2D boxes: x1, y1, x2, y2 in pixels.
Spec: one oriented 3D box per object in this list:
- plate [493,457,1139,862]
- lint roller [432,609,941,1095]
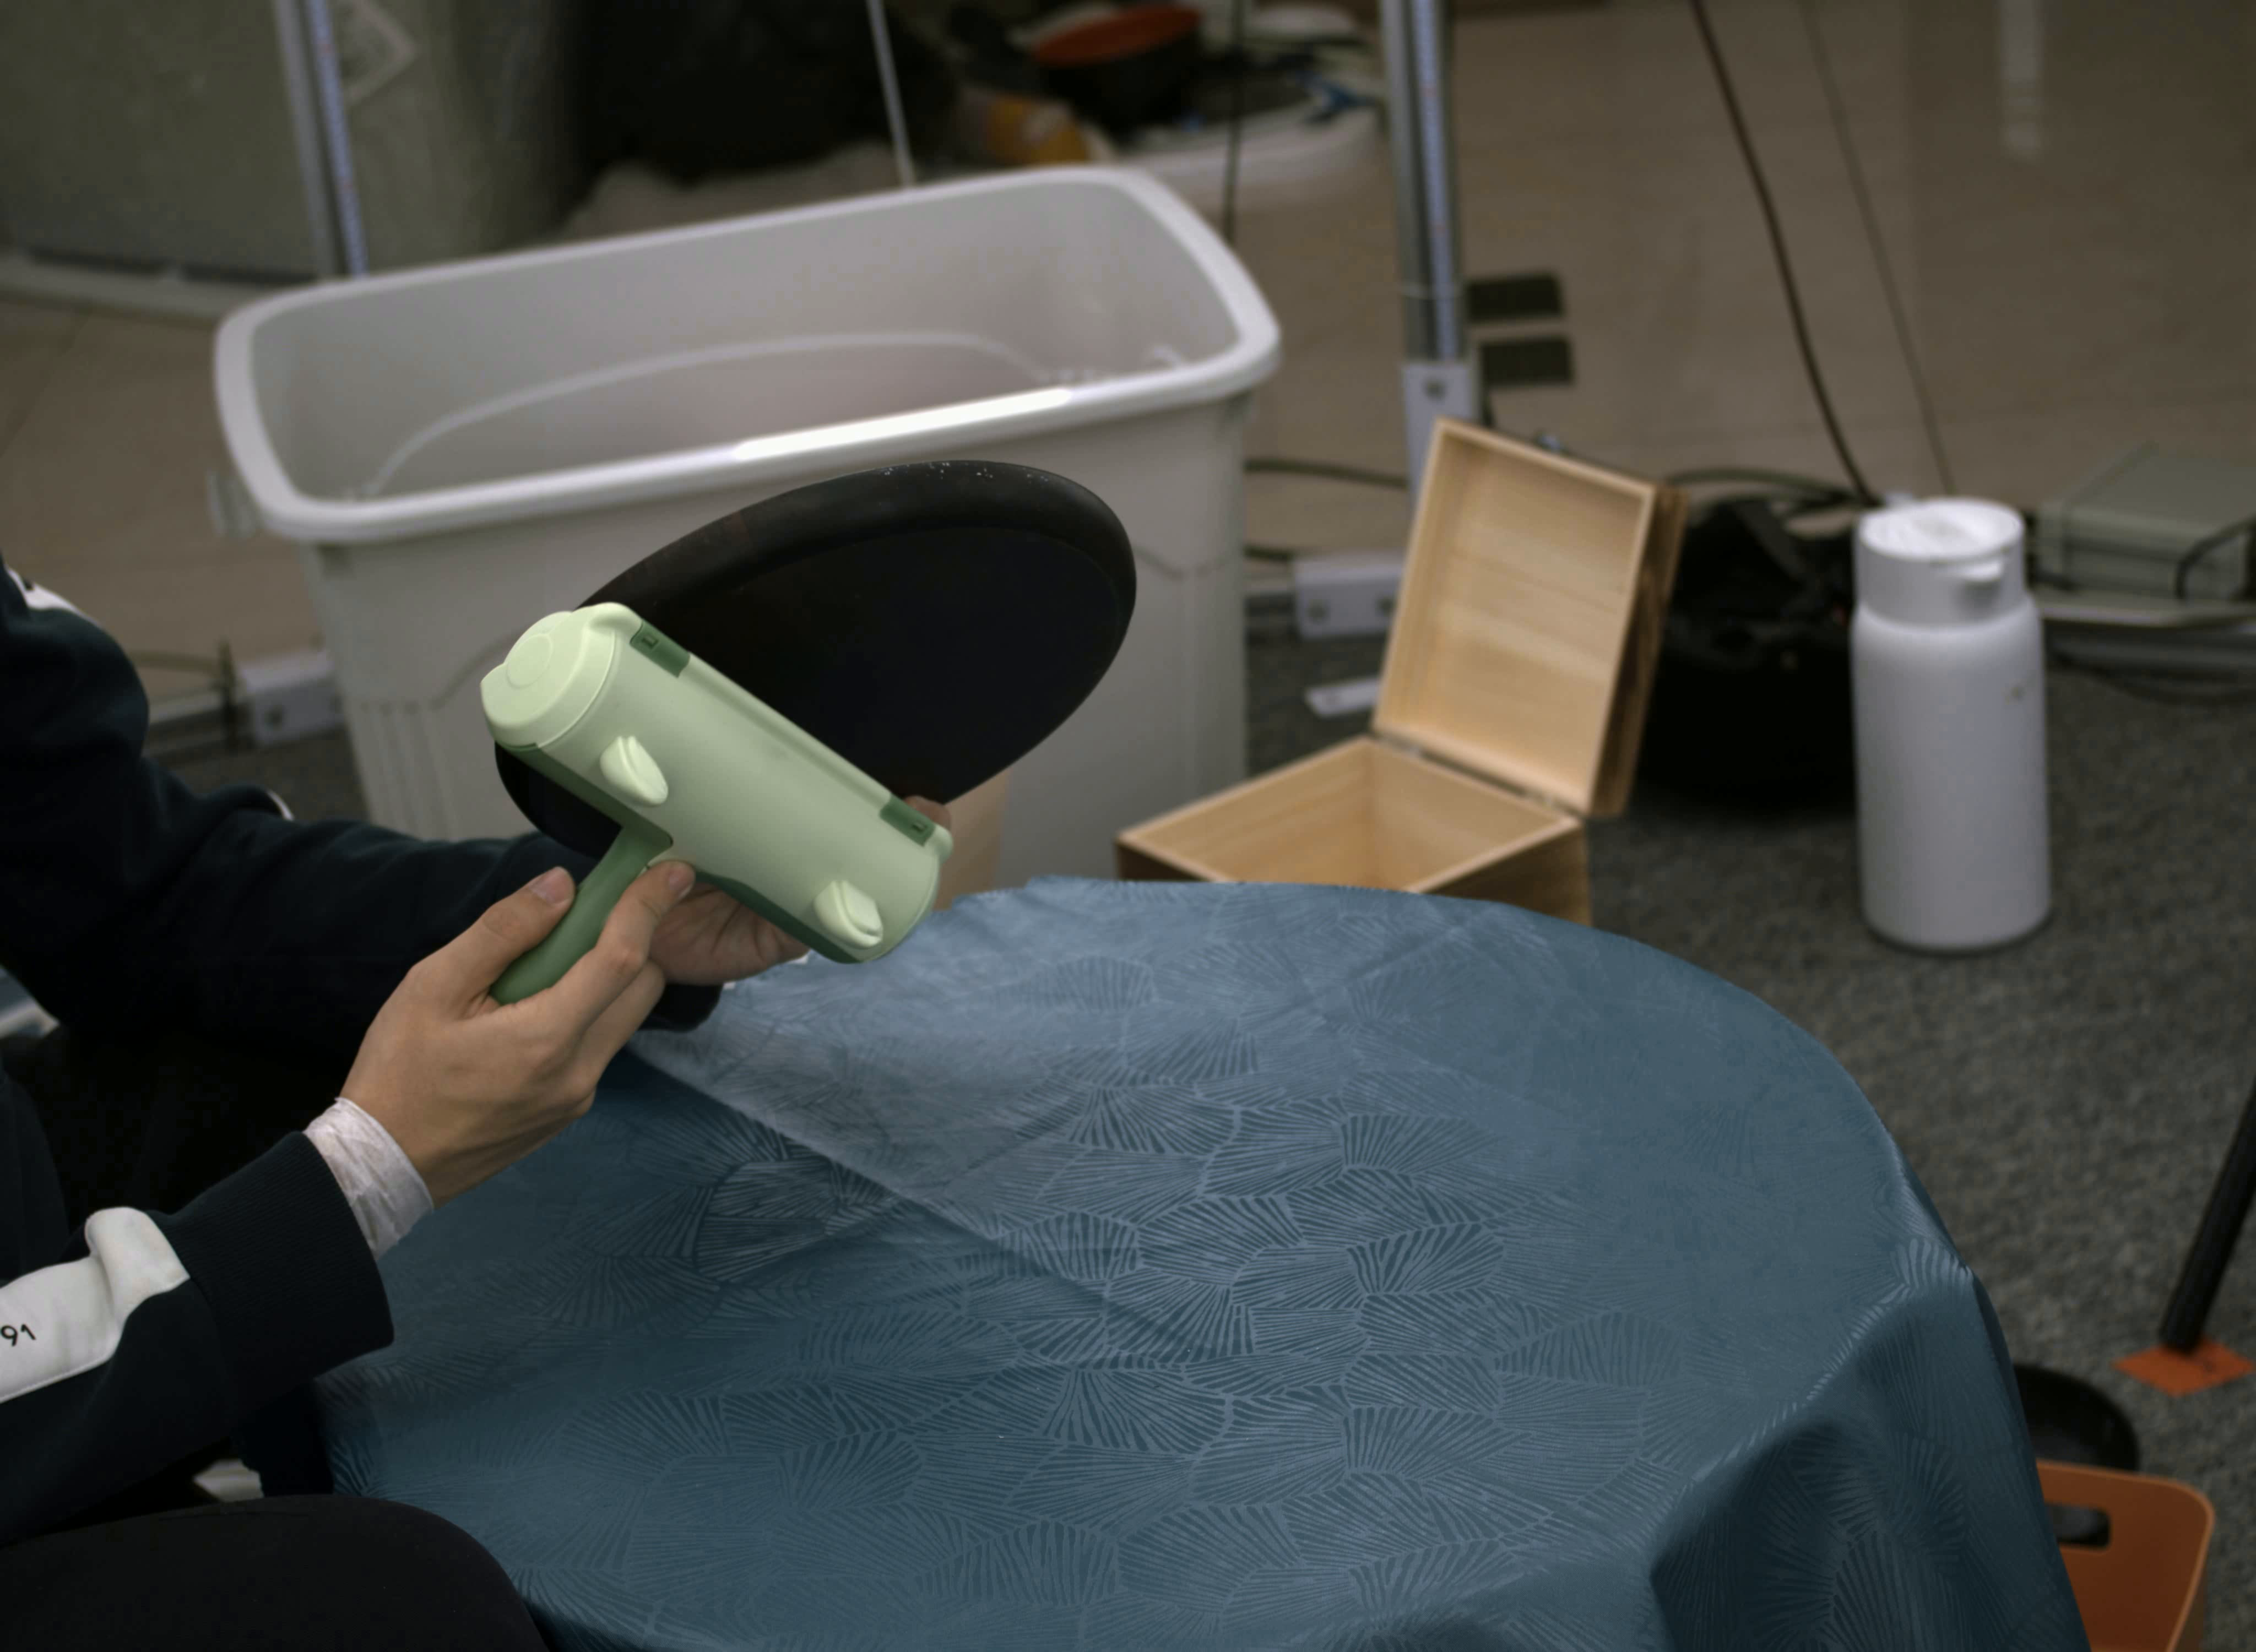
[{"bbox_3d":[-0.113,-0.055,2.114,0.254,0.259,0.028,-14,64,-17],"label":"plate"},{"bbox_3d":[-0.180,0.035,2.047,0.183,0.201,0.081,-53,43,2],"label":"lint roller"}]
